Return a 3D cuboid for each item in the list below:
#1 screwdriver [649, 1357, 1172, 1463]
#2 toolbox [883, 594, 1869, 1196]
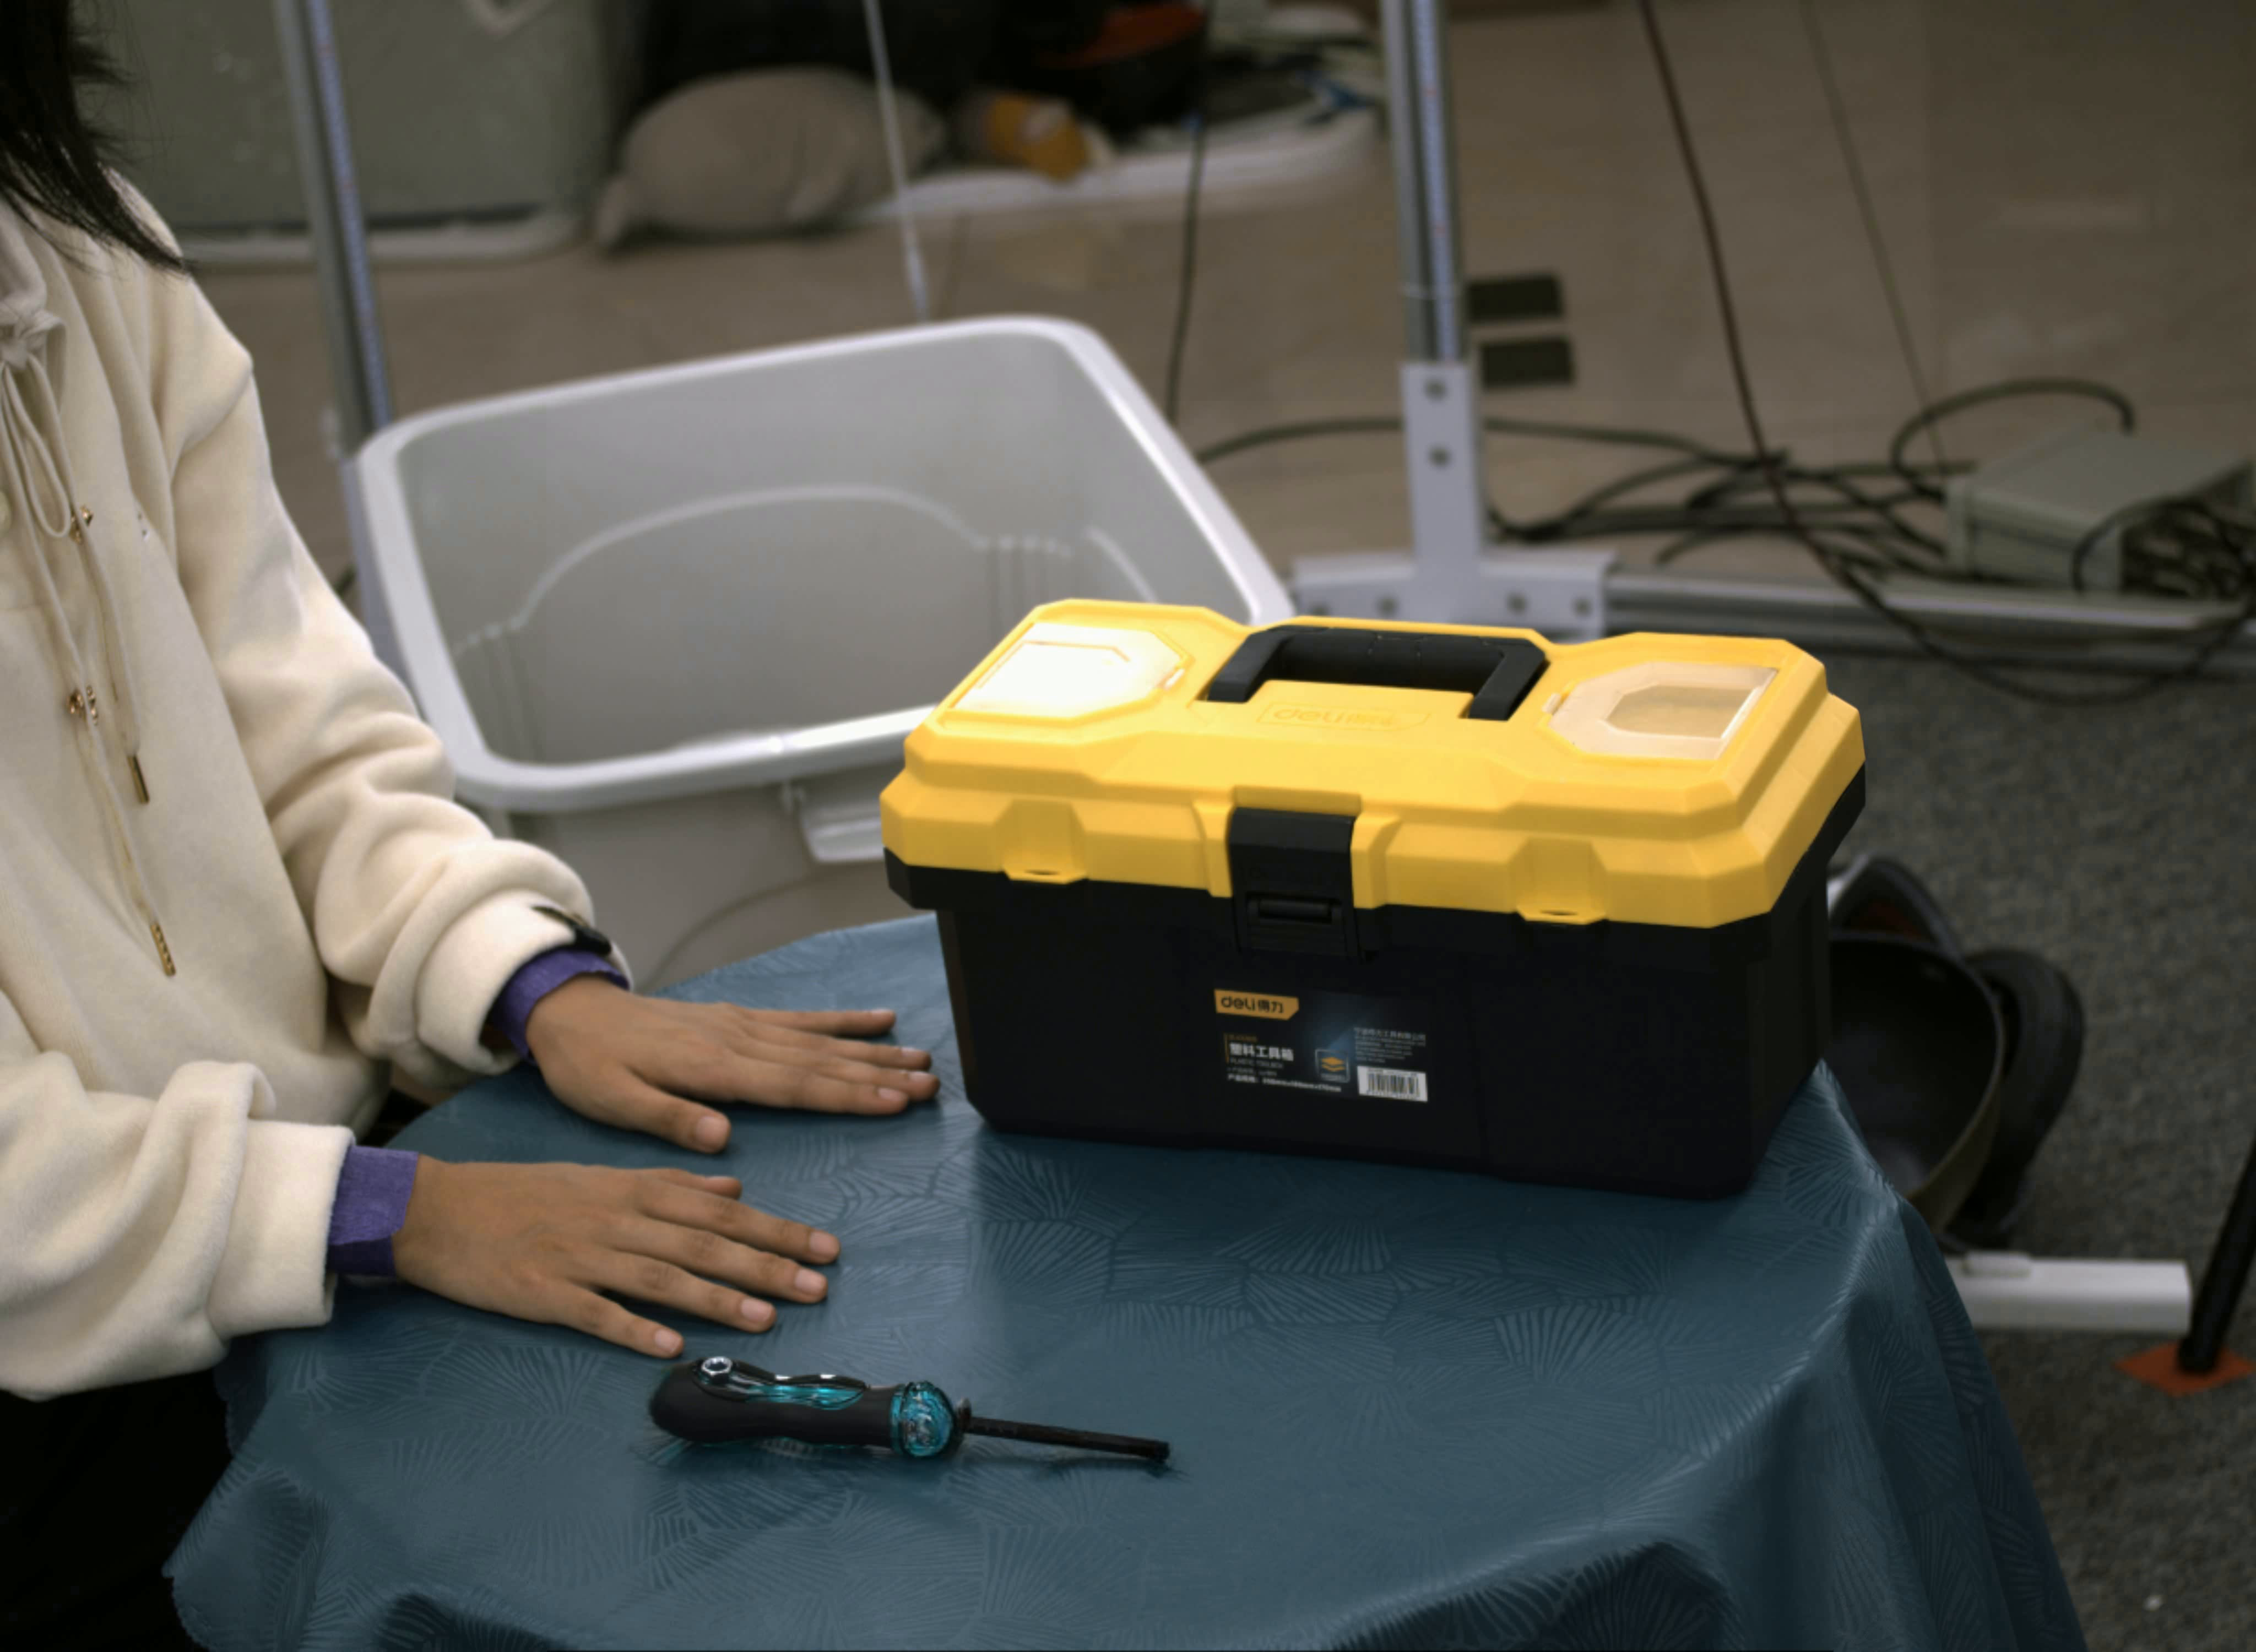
[{"bbox_3d":[-0.076,0.210,1.990,0.189,0.034,0.033,5,27,14],"label":"screwdriver"},{"bbox_3d":[0.096,0.025,2.160,0.350,0.175,0.179,5,28,22],"label":"toolbox"}]
